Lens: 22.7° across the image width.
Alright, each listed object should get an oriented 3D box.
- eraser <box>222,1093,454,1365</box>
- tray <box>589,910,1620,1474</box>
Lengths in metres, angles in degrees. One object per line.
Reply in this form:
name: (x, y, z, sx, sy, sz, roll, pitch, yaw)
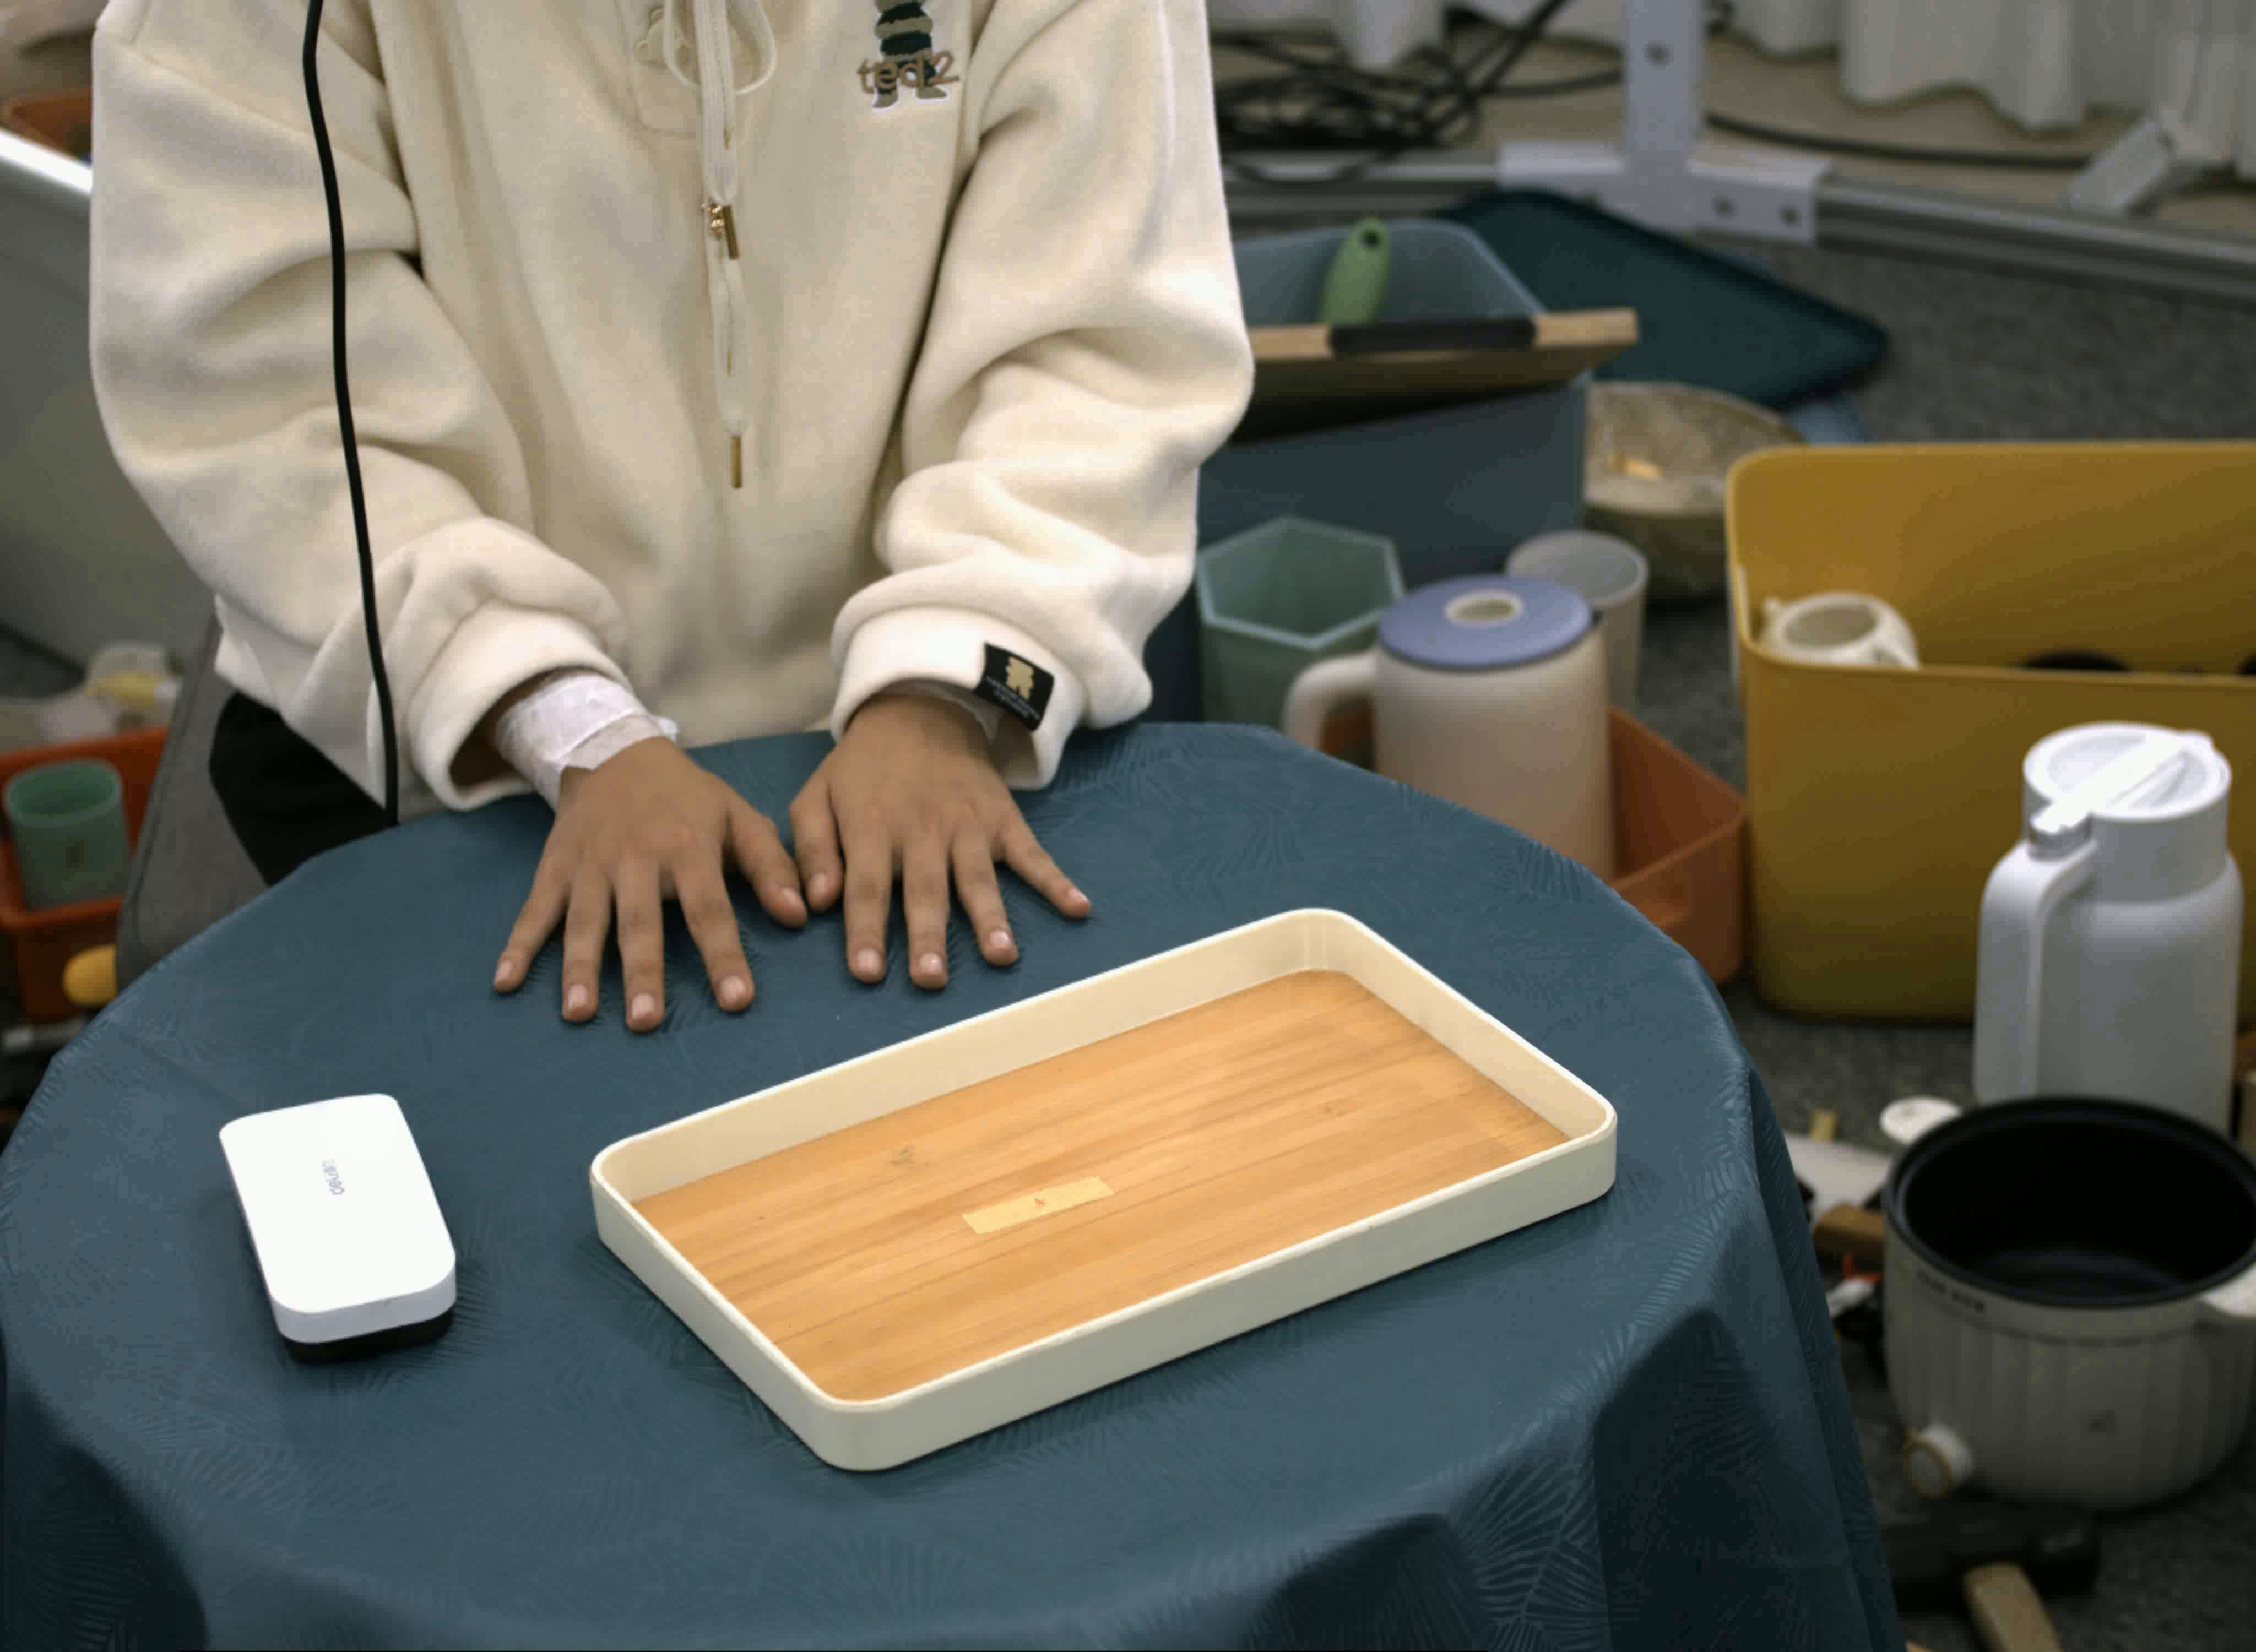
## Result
eraser: (-0.258, 0.129, 1.840, 0.063, 0.034, 0.132, -10, 29, -12)
tray: (-0.007, 0.115, 1.846, 0.302, 0.027, 0.192, -18, 31, -26)
